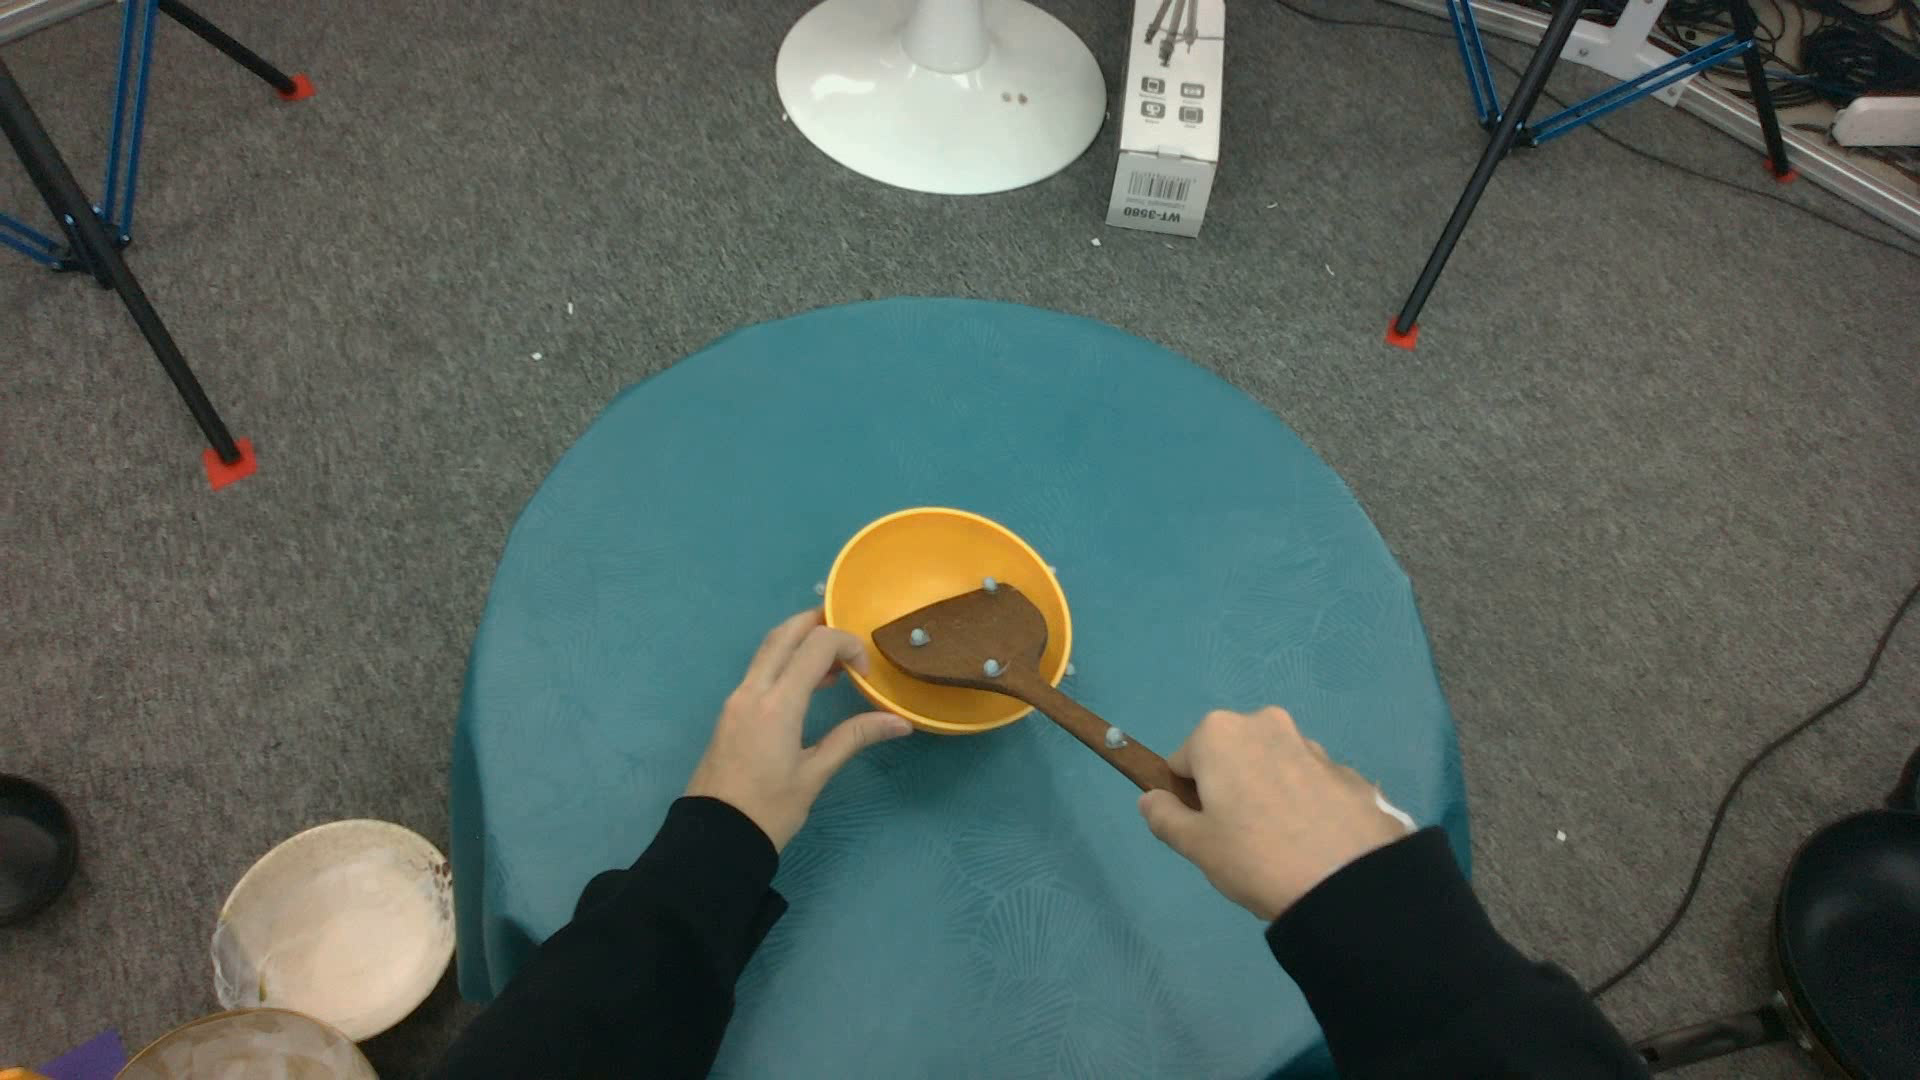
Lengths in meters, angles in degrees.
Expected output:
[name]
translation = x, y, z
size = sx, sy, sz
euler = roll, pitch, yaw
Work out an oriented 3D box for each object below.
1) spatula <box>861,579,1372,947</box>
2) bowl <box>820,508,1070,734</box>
[spatula]
translation = 0.061, 0.090, 0.660
size = 0.096, 0.016, 0.386
euler = -19, 22, -21
[bowl]
translation = -0.013, 0.056, 0.806
size = 0.145, 0.060, 0.146
euler = 7, 57, -10
